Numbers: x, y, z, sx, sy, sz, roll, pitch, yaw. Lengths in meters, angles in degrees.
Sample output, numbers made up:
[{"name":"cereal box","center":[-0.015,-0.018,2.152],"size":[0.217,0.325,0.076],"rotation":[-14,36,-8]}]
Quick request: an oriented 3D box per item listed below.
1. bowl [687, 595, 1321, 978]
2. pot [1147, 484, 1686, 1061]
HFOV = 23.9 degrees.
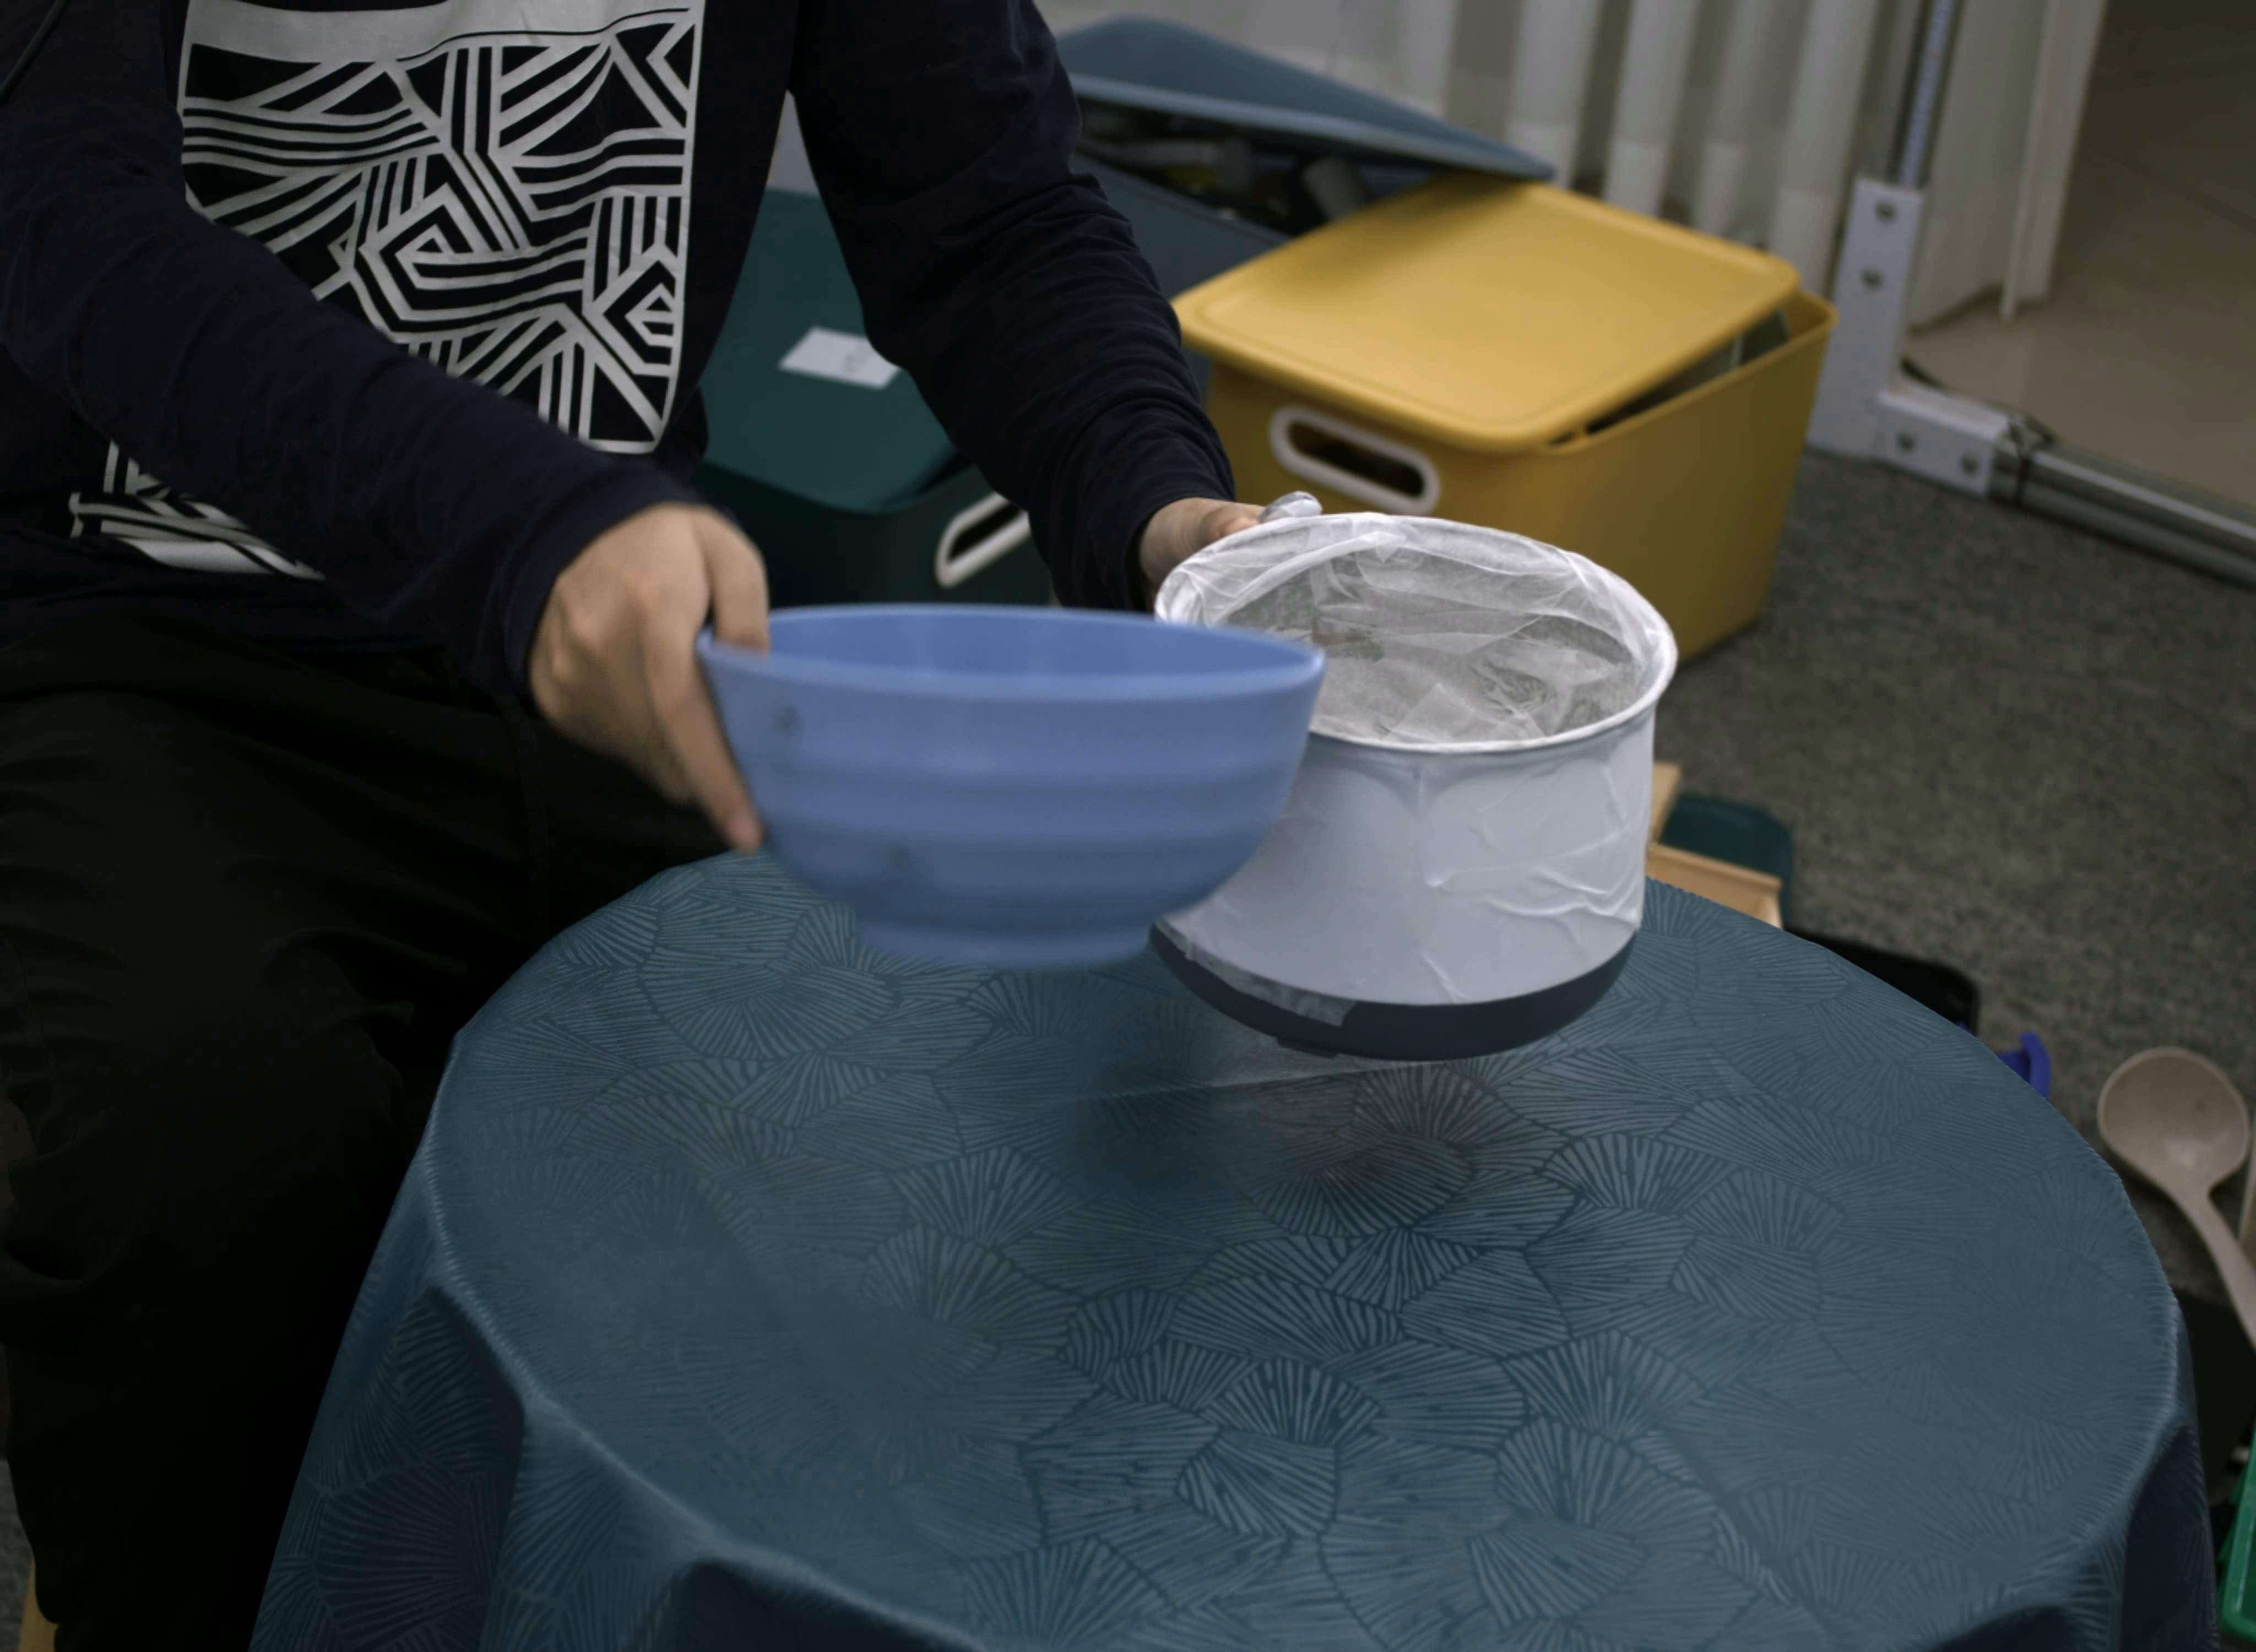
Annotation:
[{"name":"bowl","center":[-0.040,-0.009,1.654],"size":[0.196,0.095,0.197],"rotation":[2,13,-1]},{"name":"pot","center":[0.082,-0.025,1.846],"size":[0.177,0.136,0.236],"rotation":[-6,30,-24]}]
